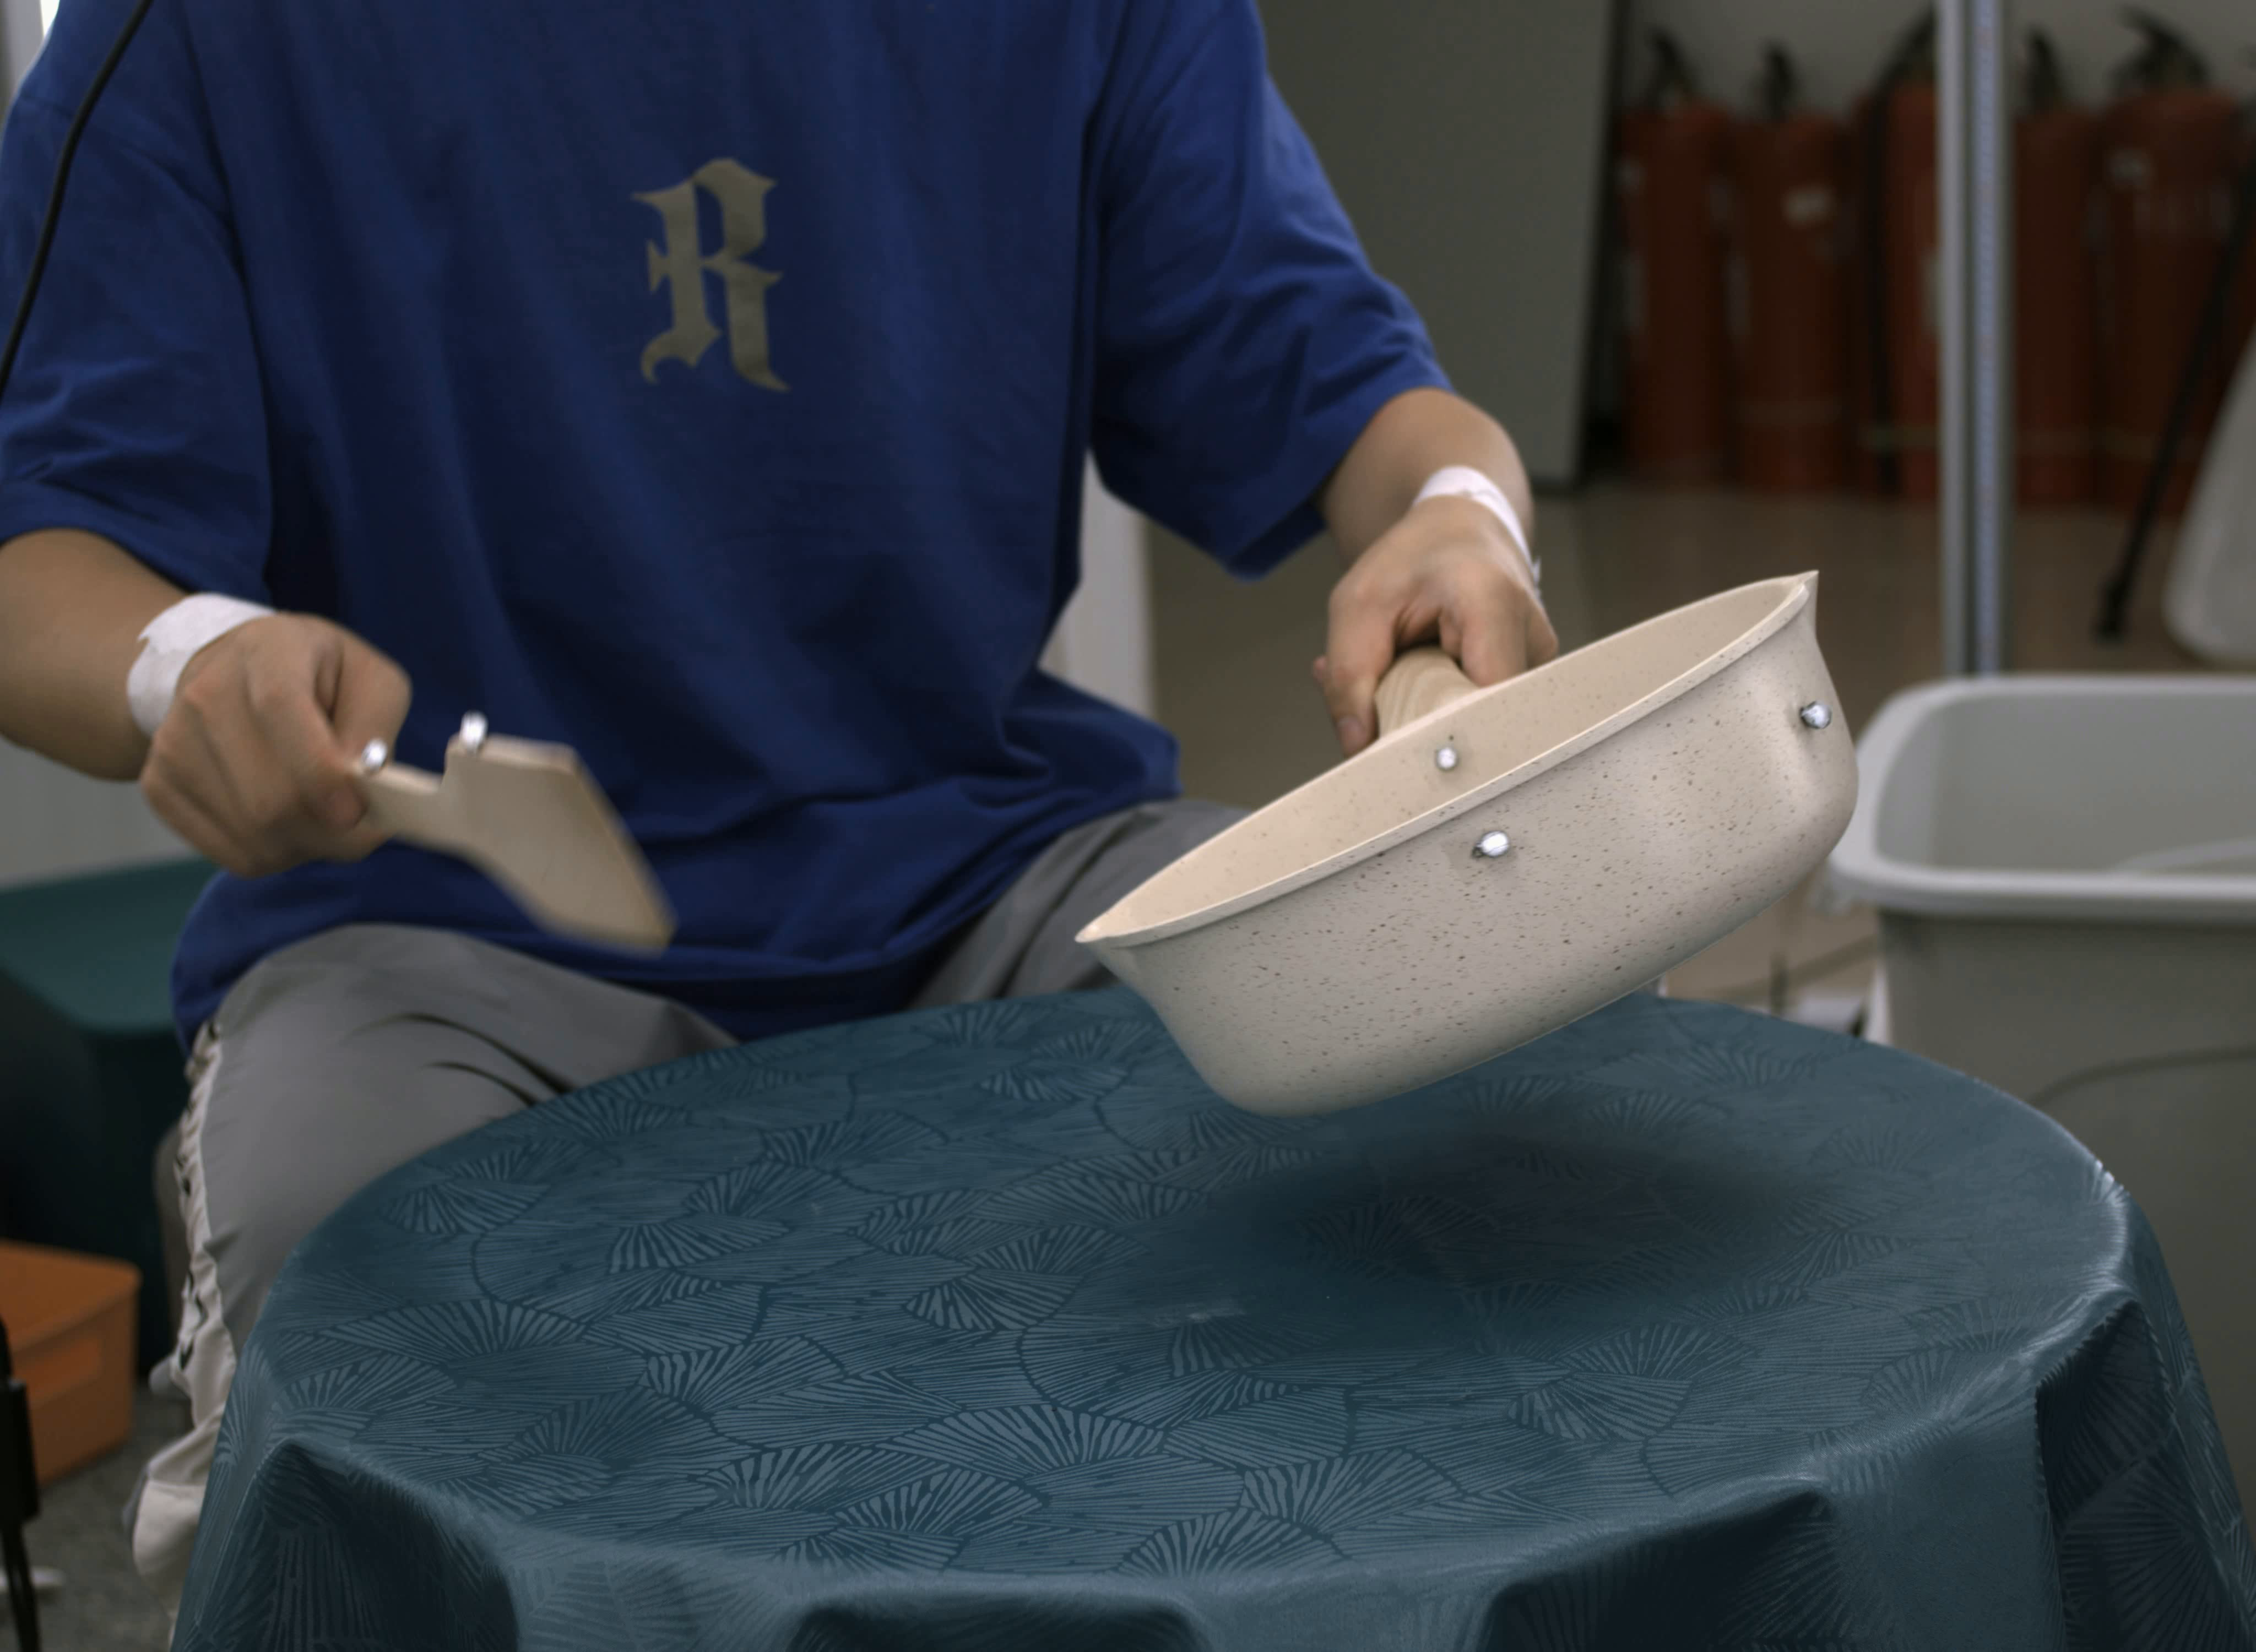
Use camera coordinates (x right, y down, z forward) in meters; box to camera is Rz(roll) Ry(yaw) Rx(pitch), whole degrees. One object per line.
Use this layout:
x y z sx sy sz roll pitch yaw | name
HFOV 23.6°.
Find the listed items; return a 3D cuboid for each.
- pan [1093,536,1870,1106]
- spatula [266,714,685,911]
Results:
0.118 -0.008 1.791 0.262 0.102 0.435 -29 4 2 | pan
-0.221 -0.013 1.741 0.010 0.072 0.296 -40 21 -20 | spatula
